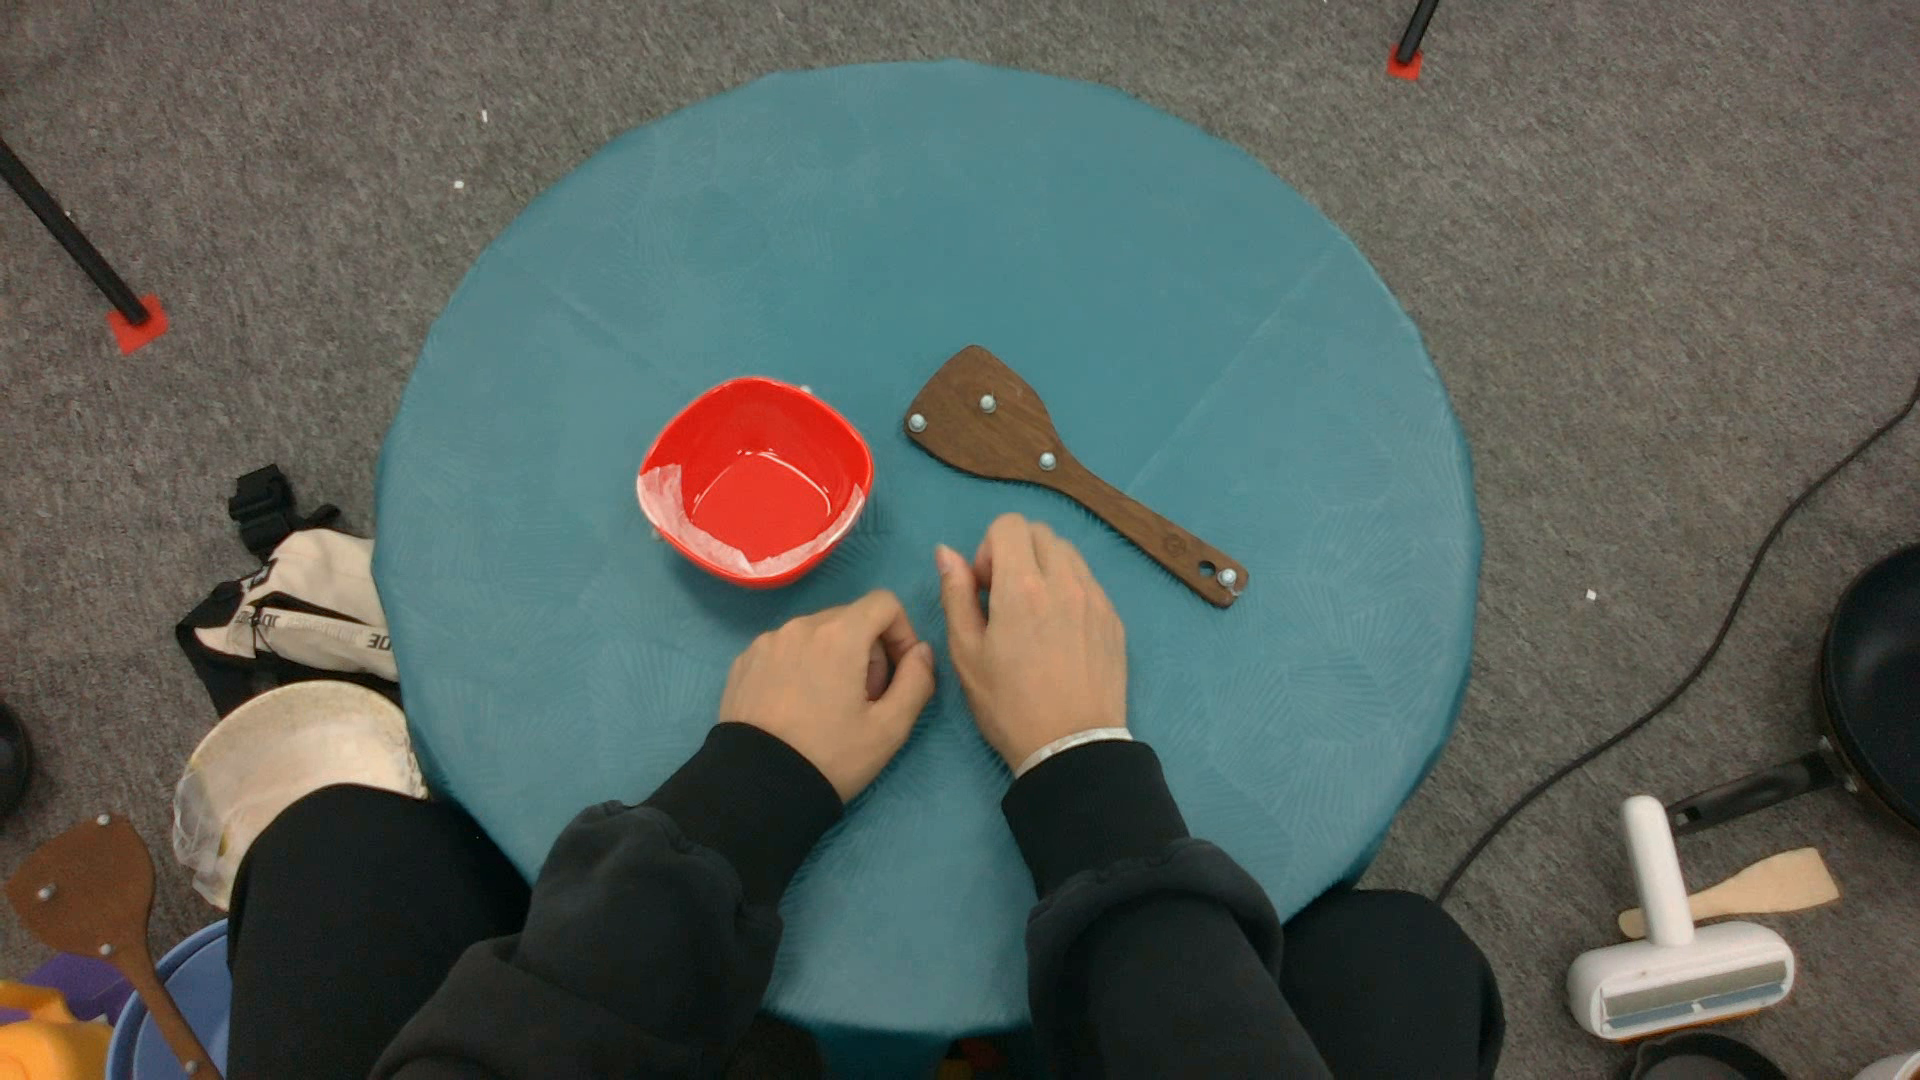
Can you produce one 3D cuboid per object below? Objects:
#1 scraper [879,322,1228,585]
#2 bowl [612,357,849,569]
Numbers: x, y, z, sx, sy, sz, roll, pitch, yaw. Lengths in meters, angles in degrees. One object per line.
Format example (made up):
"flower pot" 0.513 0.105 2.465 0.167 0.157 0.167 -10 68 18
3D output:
"scraper" 0.055 -0.042 0.756 0.211 0.011 0.076 35 68 11
"bowl" -0.117 -0.032 0.715 0.119 0.051 0.119 2 63 -4
